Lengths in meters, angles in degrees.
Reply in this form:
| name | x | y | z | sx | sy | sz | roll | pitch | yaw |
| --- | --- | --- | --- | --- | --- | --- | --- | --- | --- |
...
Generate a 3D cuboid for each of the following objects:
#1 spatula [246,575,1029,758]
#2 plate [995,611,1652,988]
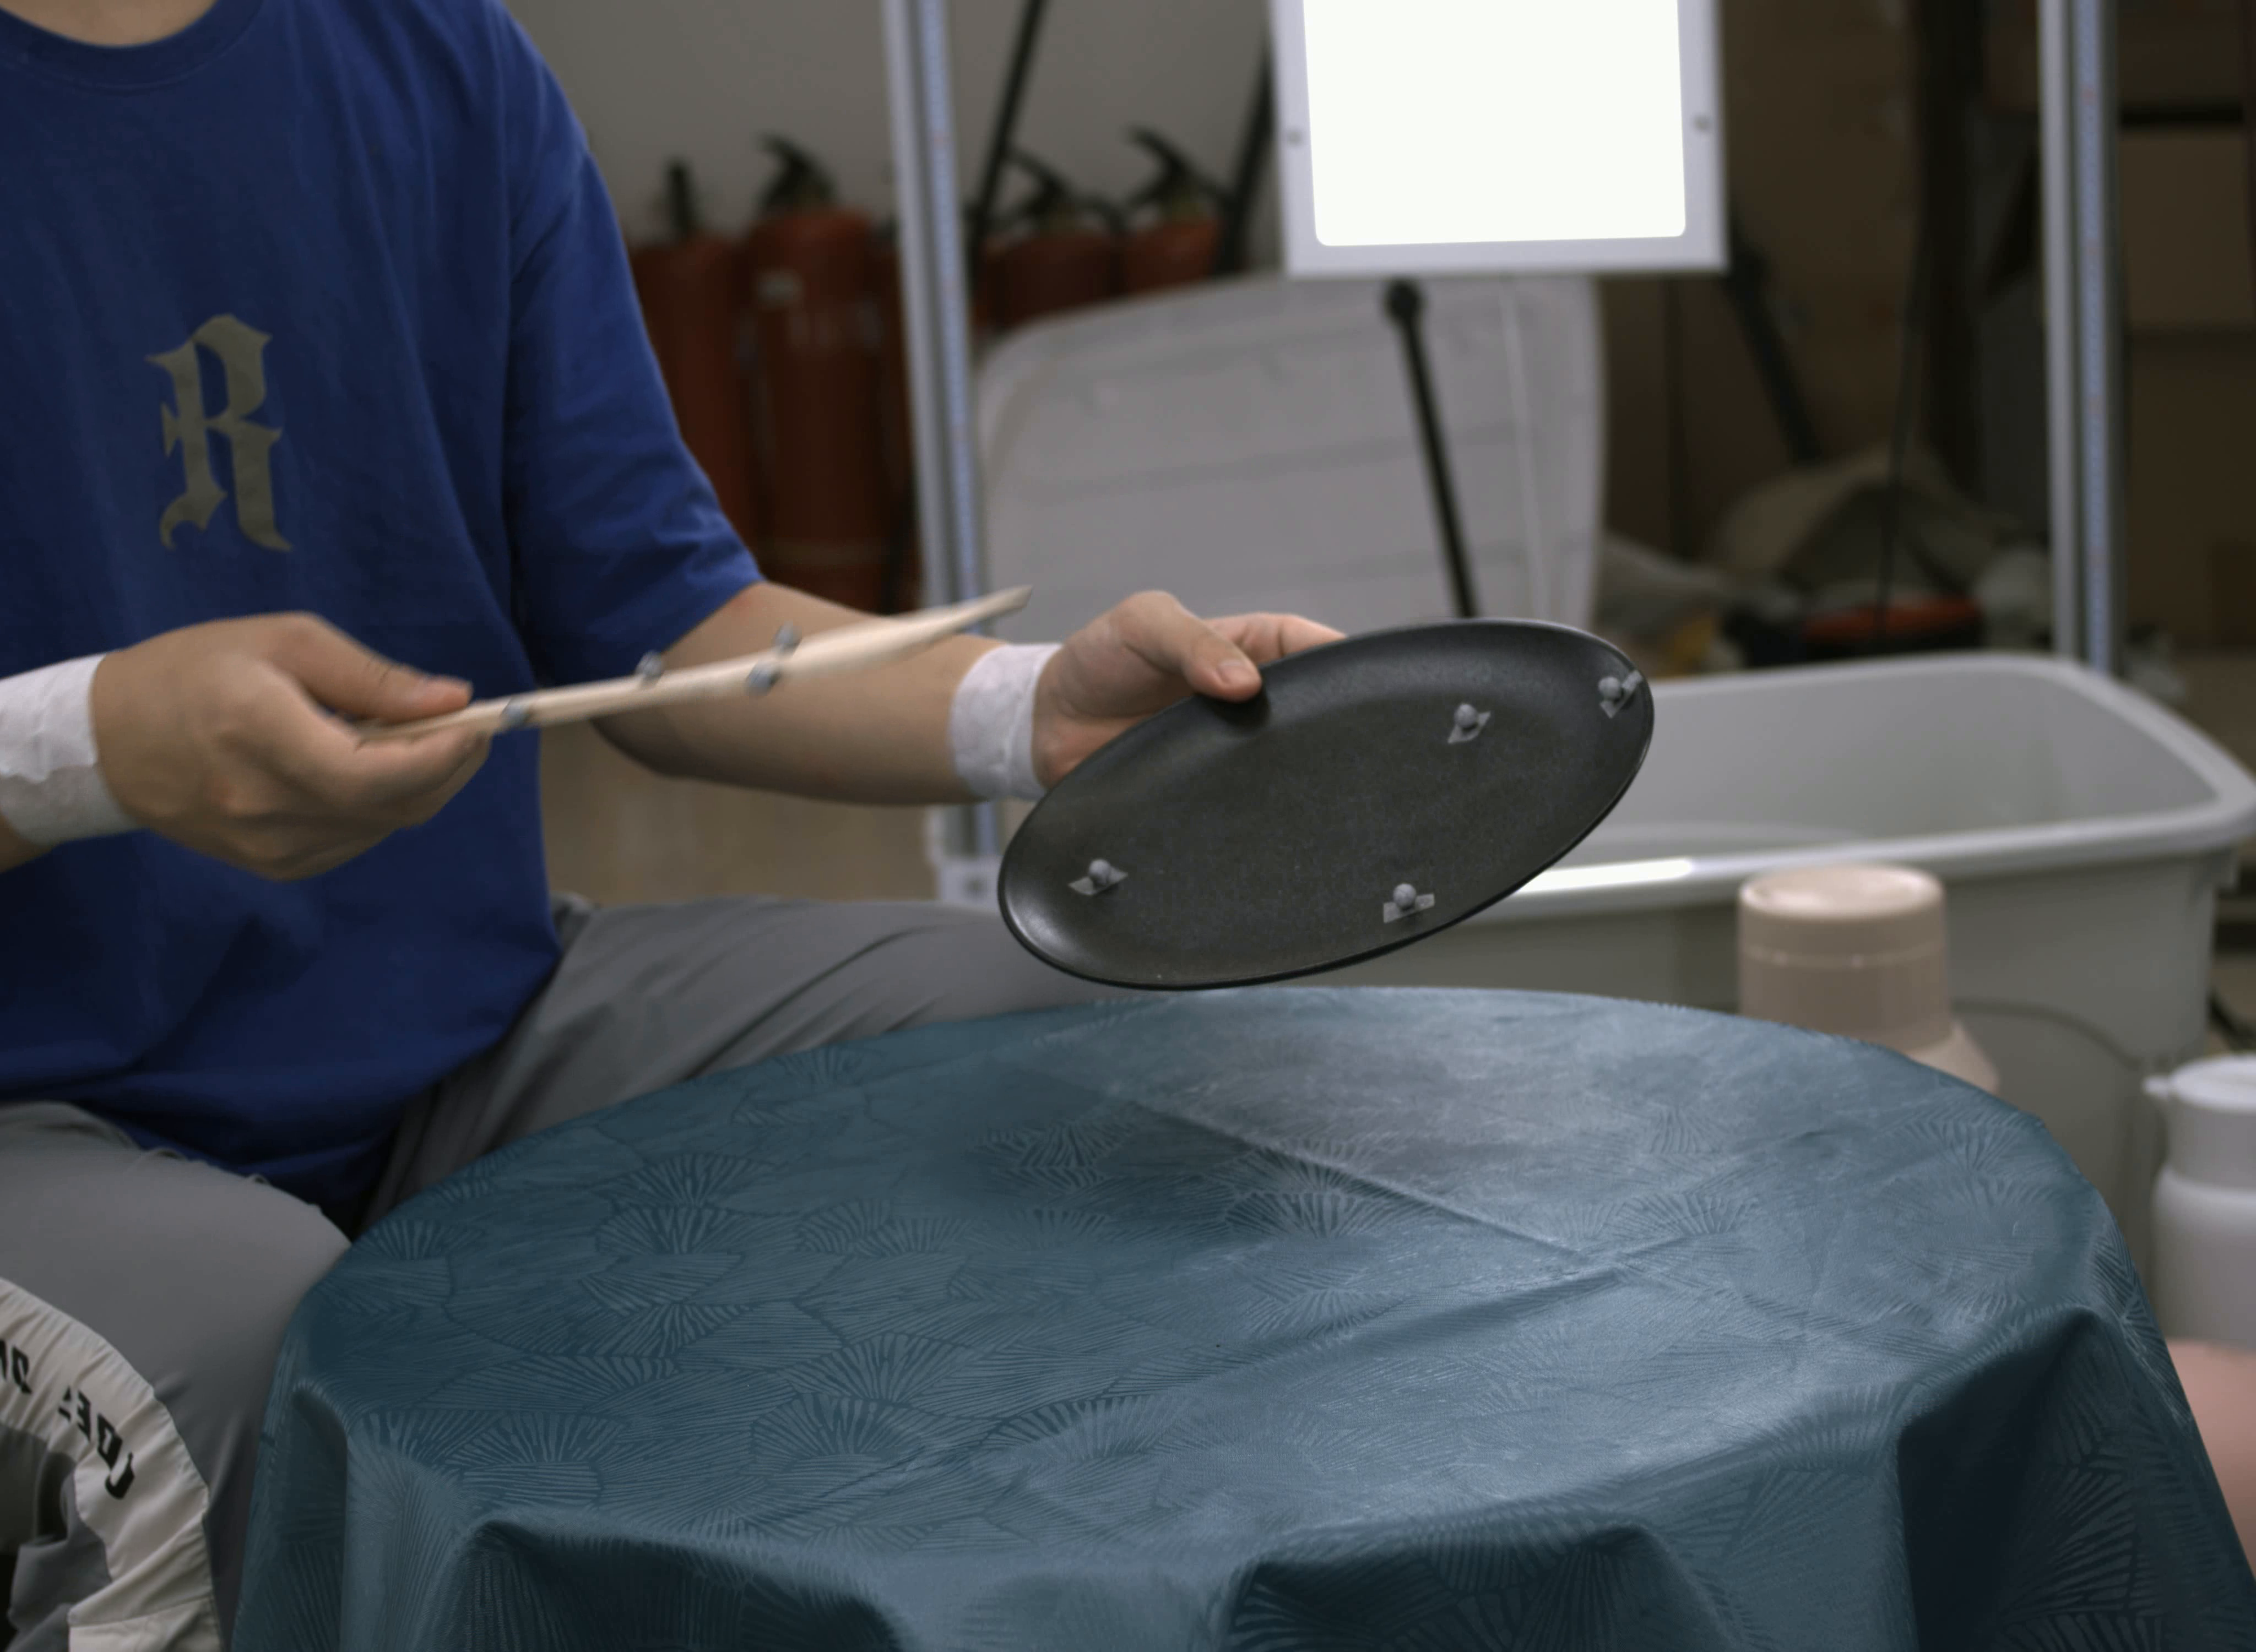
| name | x | y | z | sx | sy | sz | roll | pitch | yaw |
| --- | --- | --- | --- | --- | --- | --- | --- | --- | --- |
| spatula | -0.170 | -0.048 | 1.804 | 0.299 | 0.011 | 0.071 | -10 | 9 | 31 |
| plate | 0.071 | -0.004 | 1.943 | 0.245 | 0.023 | 0.244 | -18 | 27 | 8 |
